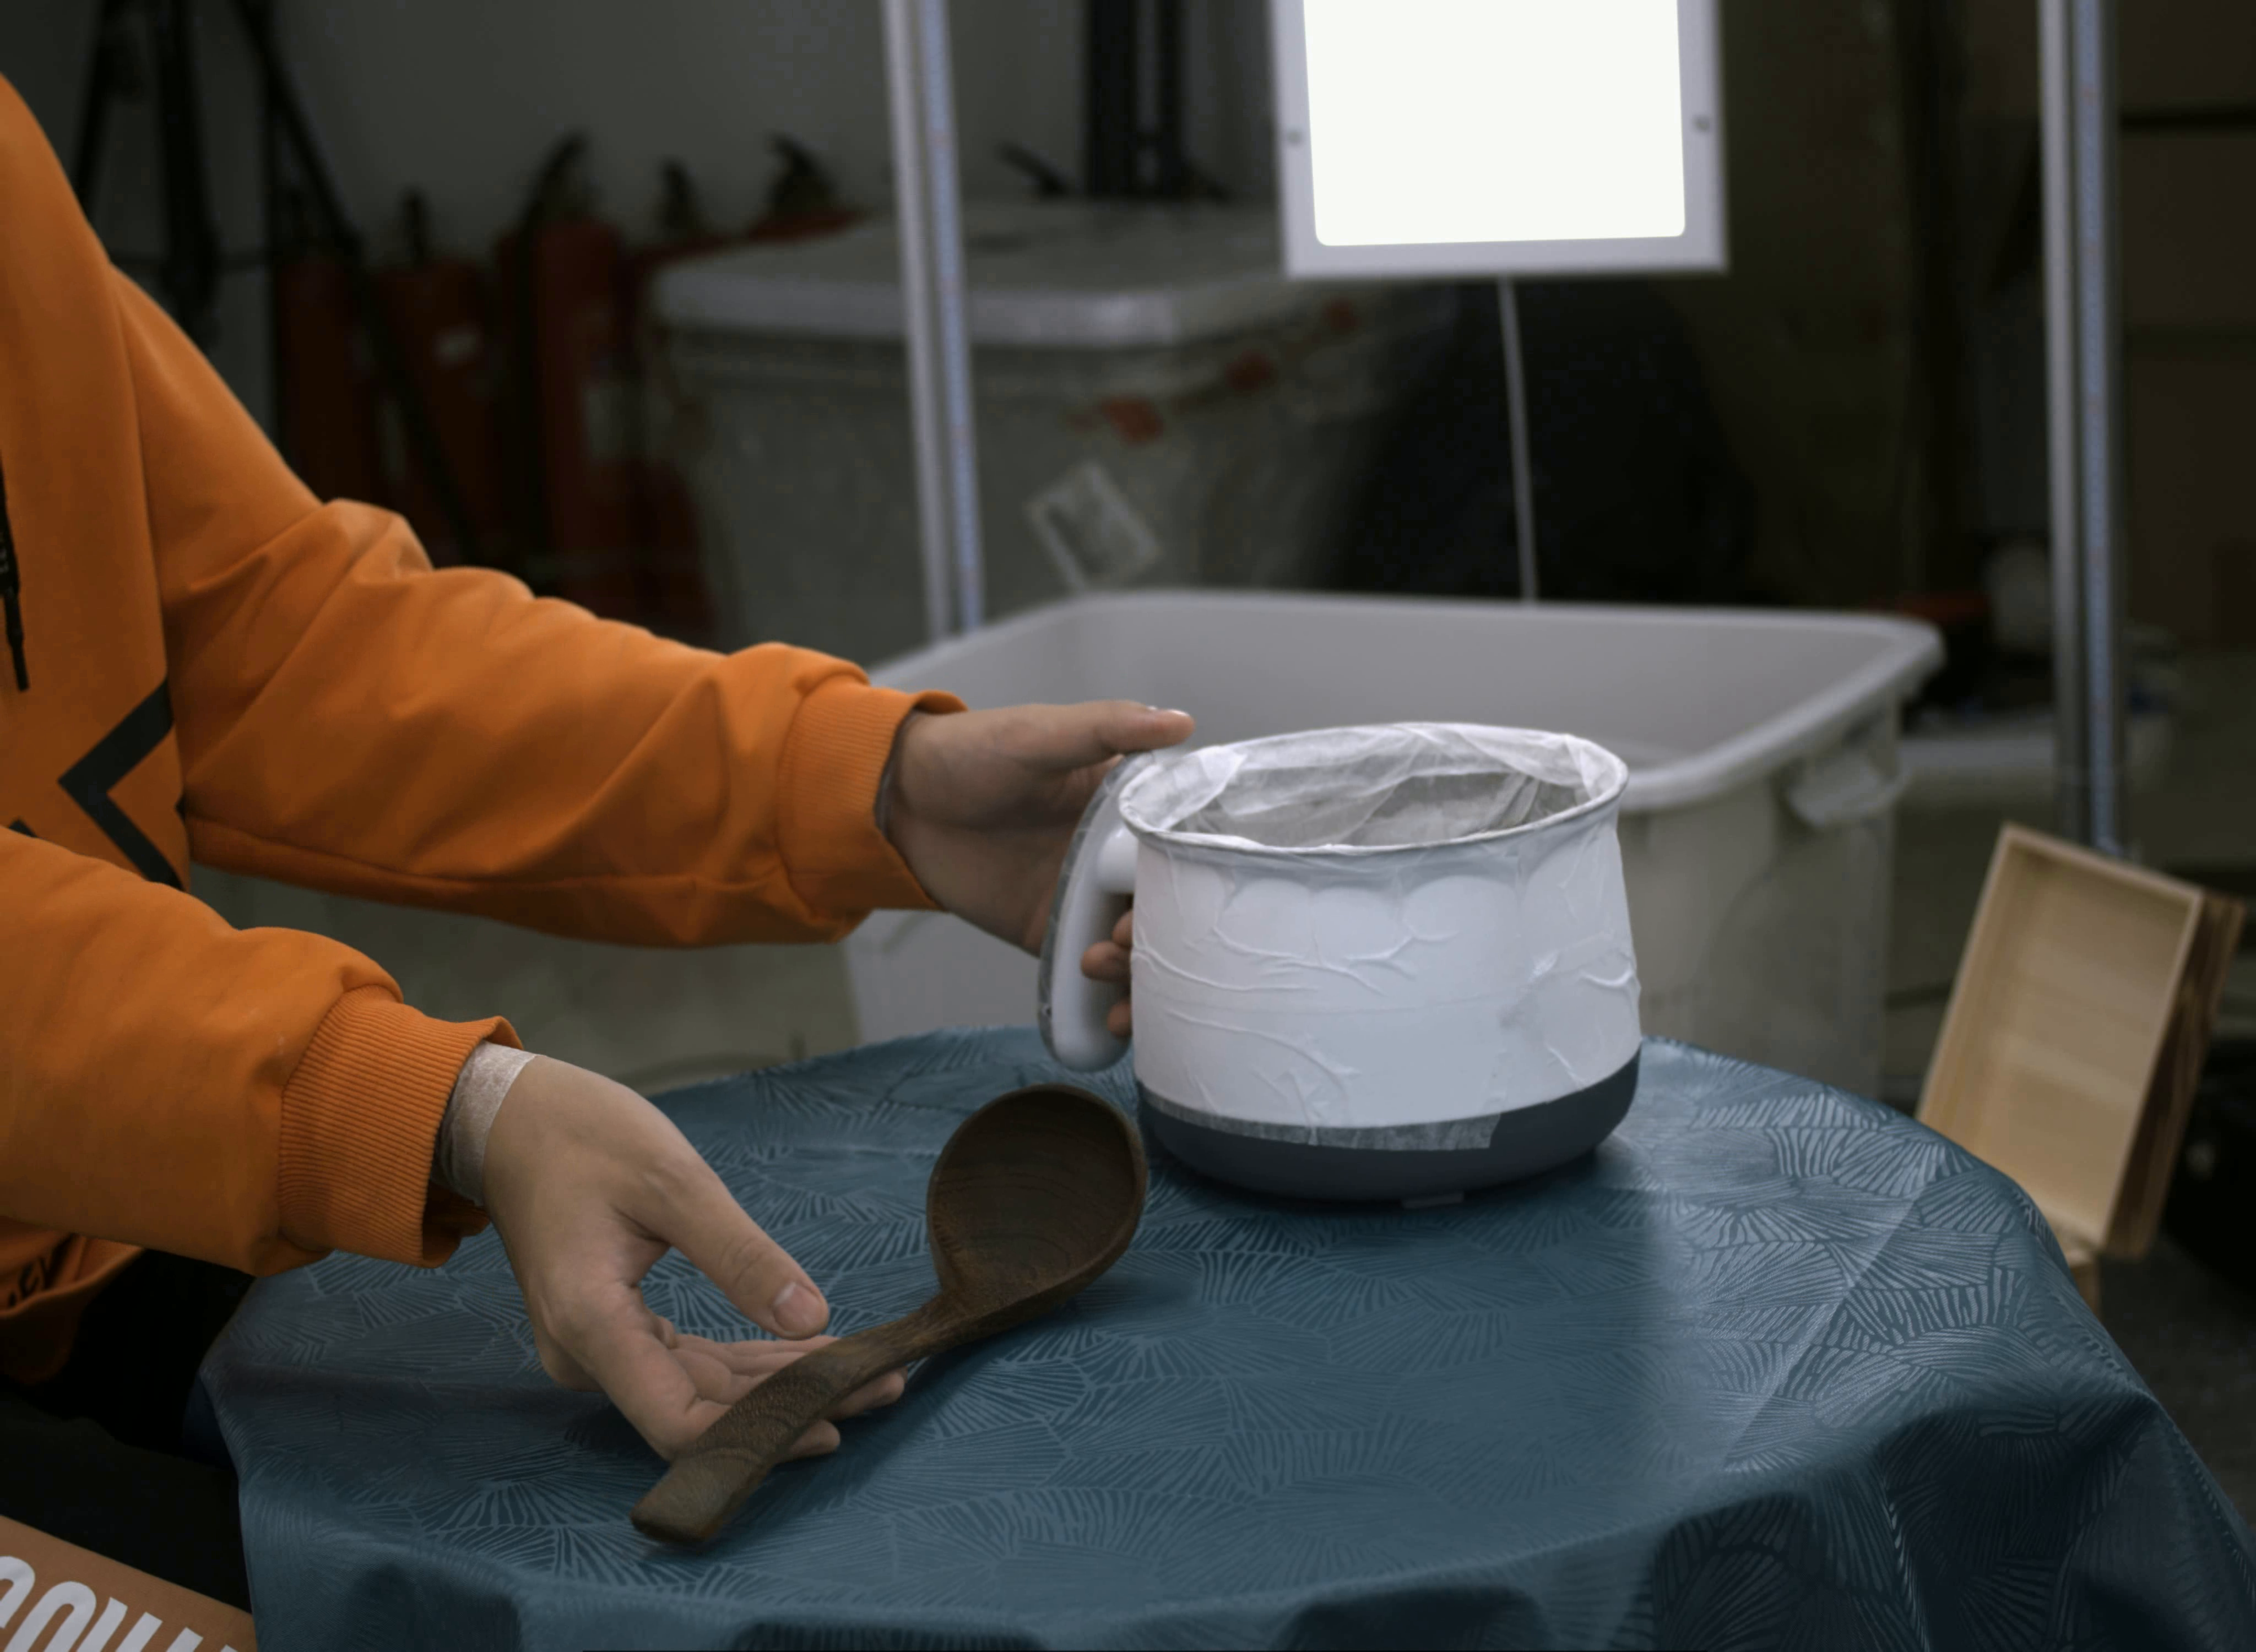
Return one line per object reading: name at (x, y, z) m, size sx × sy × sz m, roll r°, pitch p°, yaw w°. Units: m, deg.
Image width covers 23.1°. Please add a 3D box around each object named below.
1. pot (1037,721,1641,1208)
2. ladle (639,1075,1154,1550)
pot at (0.066, 0.044, 1.919) m, size 0.238 × 0.137 × 0.174 m, roll 6°, pitch 17°, yaw 36°
ladle at (-0.073, 0.144, 1.701) m, size 0.077 × 0.072 × 0.268 m, roll 8°, pitch 17°, yaw 25°
